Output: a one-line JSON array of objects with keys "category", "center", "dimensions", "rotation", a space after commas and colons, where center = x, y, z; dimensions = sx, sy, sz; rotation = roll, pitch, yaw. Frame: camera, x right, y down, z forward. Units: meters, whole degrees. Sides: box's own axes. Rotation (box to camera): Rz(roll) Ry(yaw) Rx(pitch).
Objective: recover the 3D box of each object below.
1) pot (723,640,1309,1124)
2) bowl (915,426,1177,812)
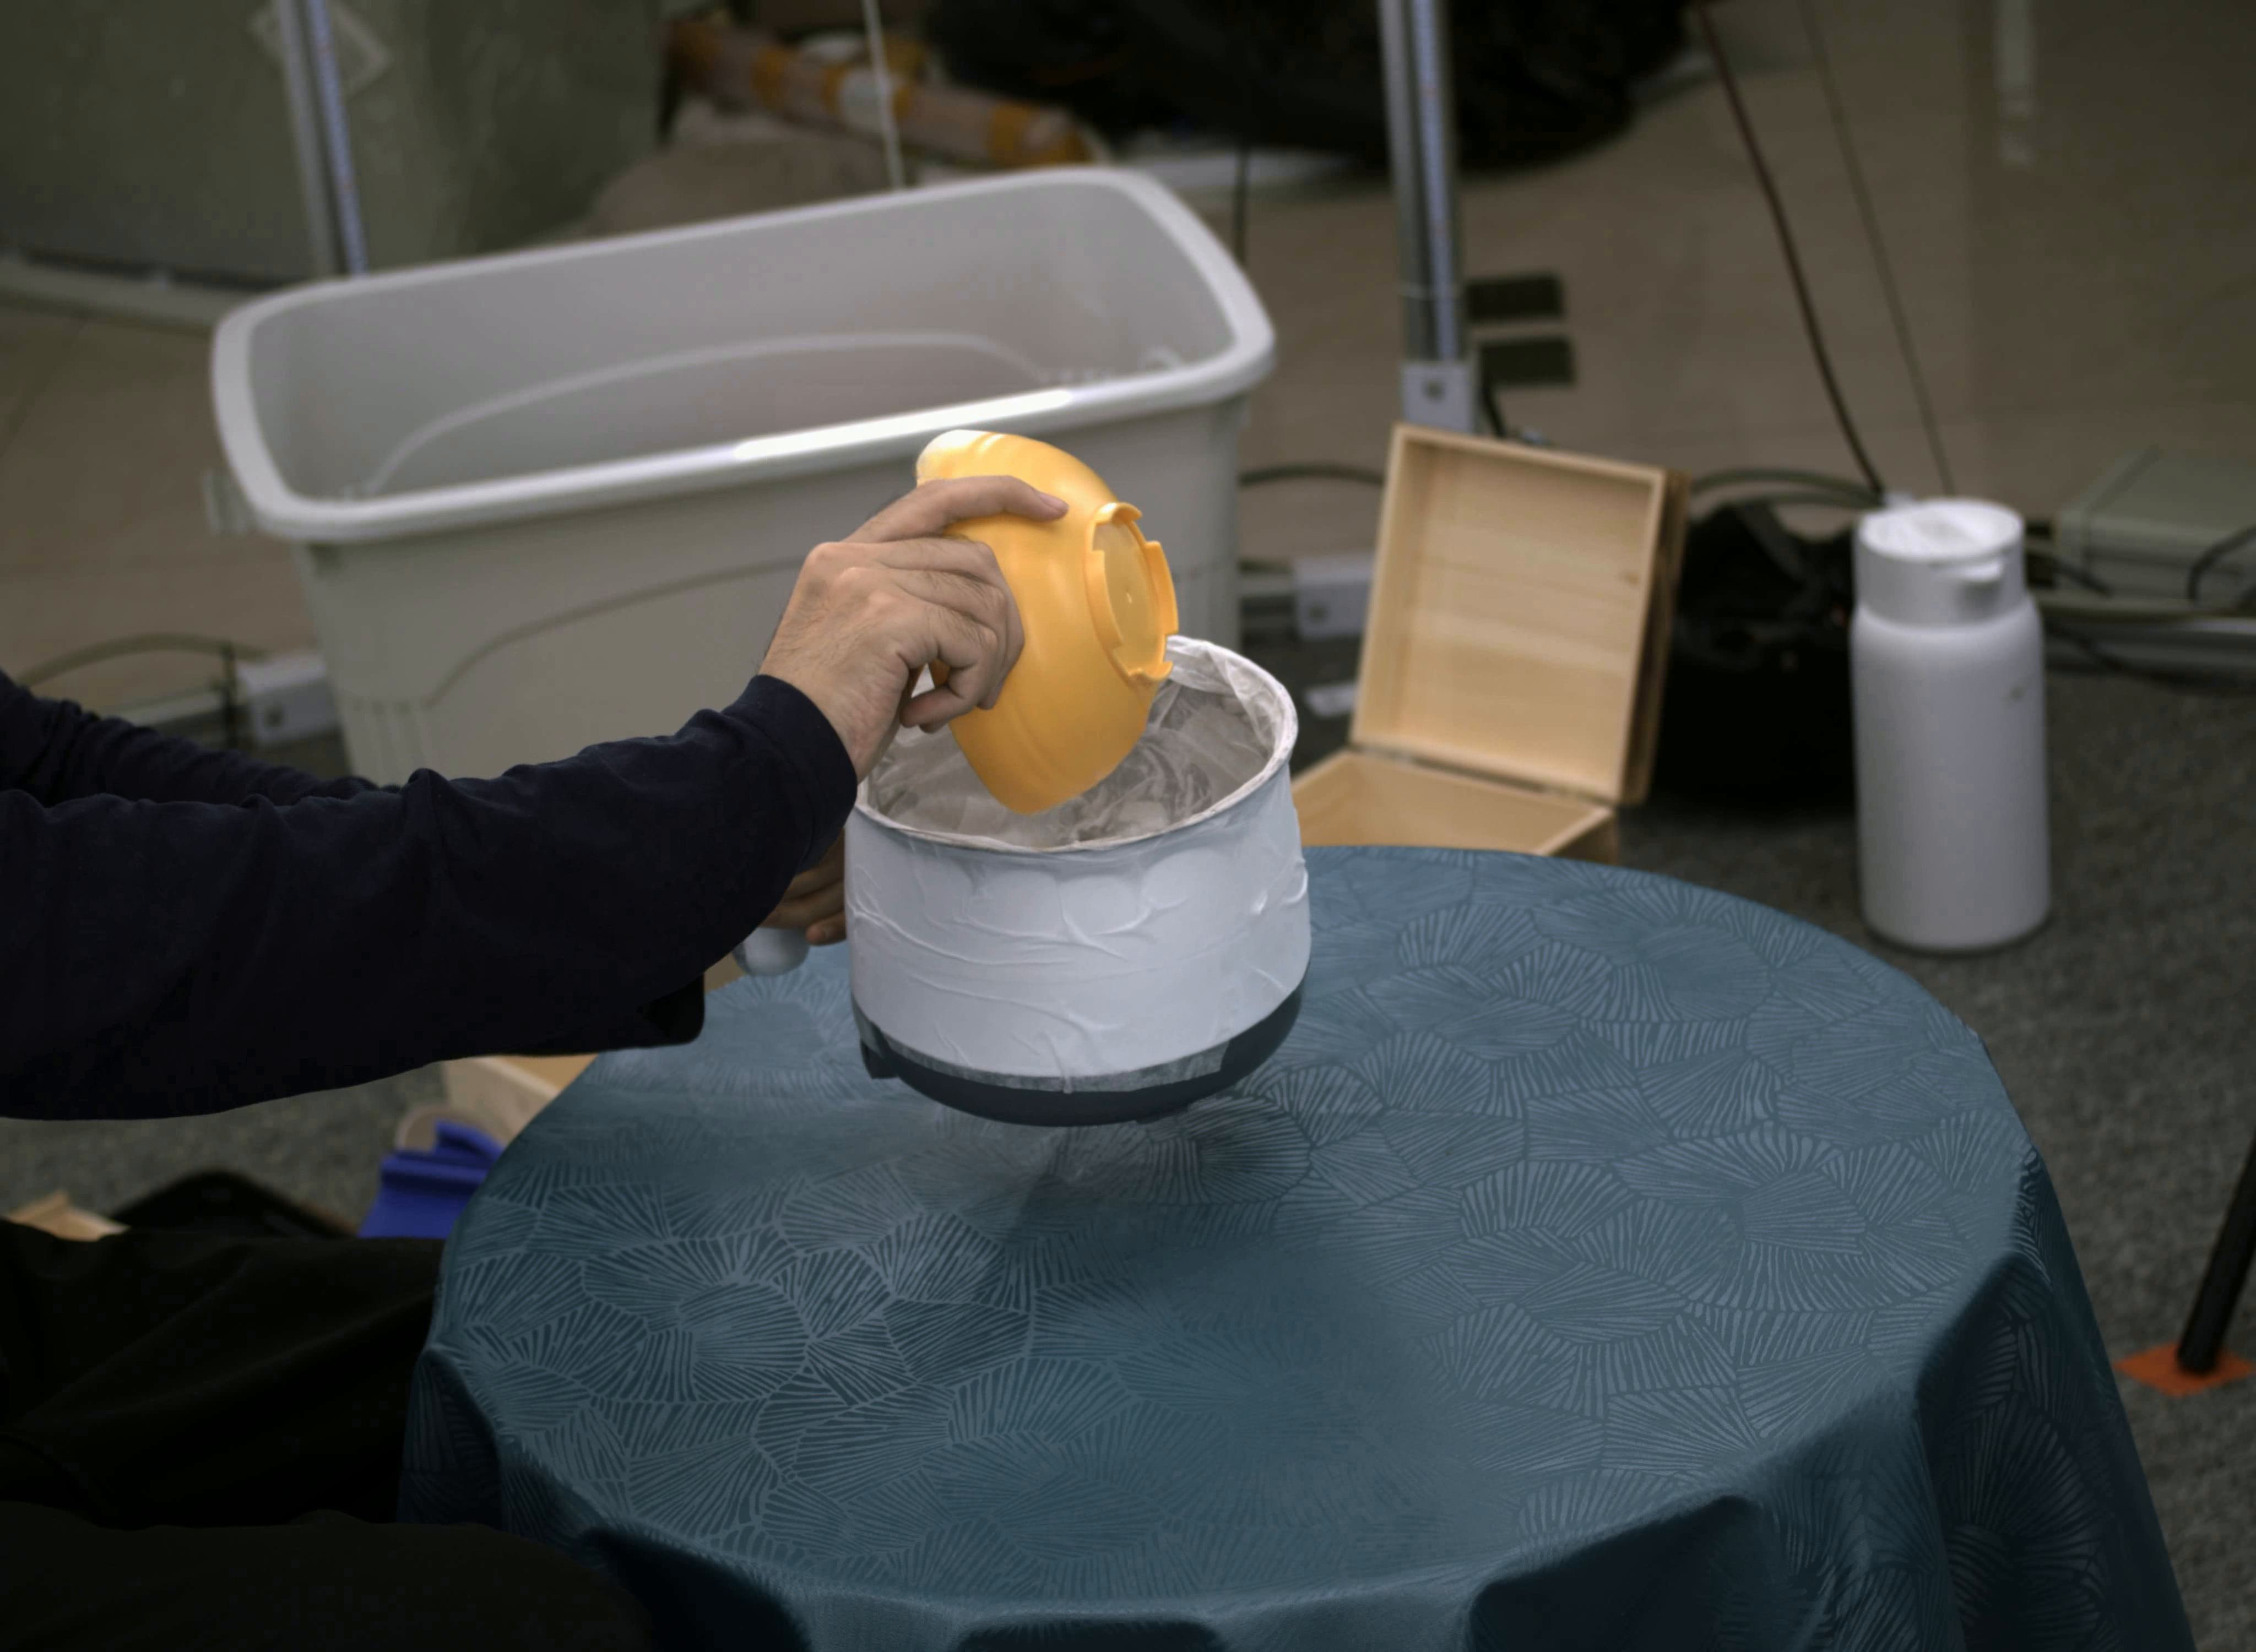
[{"category": "pot", "center": [-0.046, 0.019, 2.153], "dimensions": [0.233, 0.139, 0.176], "rotation": [7, 29, 17]}, {"category": "bowl", "center": [-0.022, -0.081, 2.055], "dimensions": [0.060, 0.147, 0.143], "rotation": [-12, 22, 20]}]
